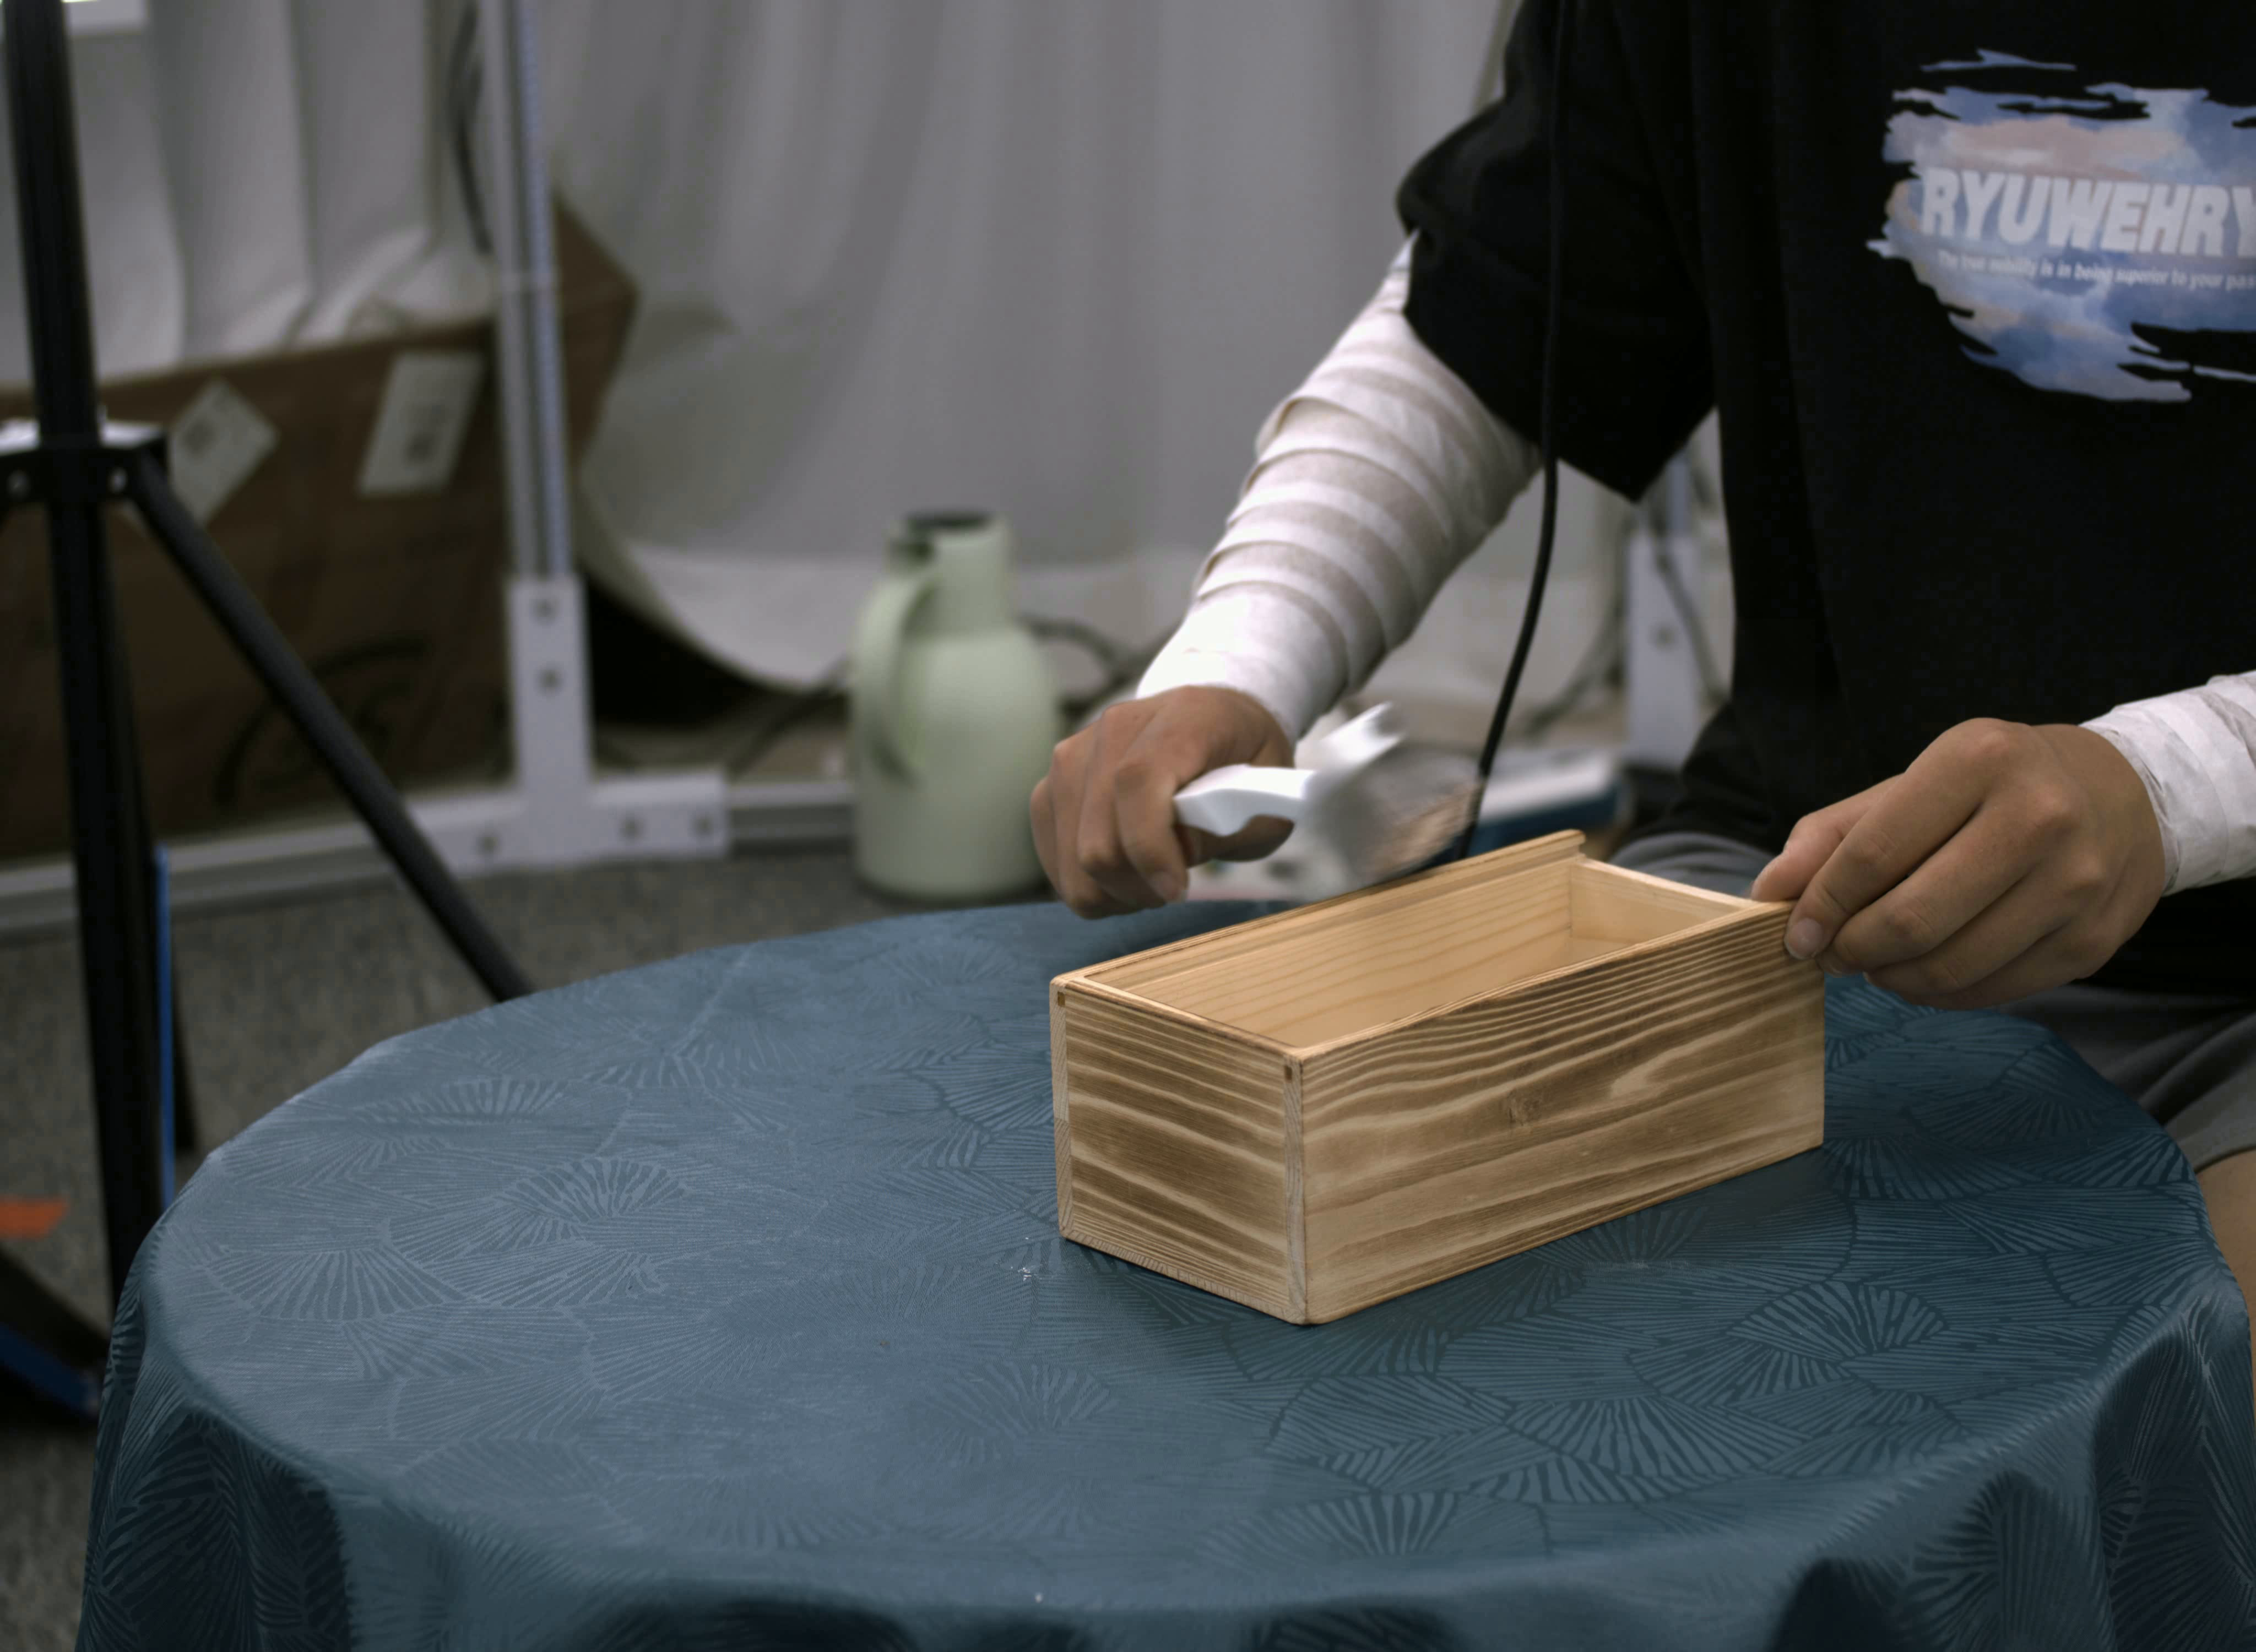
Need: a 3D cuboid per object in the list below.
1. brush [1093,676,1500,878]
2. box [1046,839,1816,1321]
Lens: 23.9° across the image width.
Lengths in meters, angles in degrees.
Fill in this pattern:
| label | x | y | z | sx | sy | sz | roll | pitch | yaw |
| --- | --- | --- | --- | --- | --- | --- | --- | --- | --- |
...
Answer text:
| label | x | y | z | sx | sy | sz | roll | pitch | yaw |
| --- | --- | --- | --- | --- | --- | --- | --- | --- | --- |
| brush | 0.050 | 0.000 | 1.654 | 0.034 | 0.050 | 0.246 | -30 | 3 | -23 |
| box | 0.090 | 0.070 | 1.536 | 0.206 | 0.080 | 0.110 | -14 | 19 | -39 |
